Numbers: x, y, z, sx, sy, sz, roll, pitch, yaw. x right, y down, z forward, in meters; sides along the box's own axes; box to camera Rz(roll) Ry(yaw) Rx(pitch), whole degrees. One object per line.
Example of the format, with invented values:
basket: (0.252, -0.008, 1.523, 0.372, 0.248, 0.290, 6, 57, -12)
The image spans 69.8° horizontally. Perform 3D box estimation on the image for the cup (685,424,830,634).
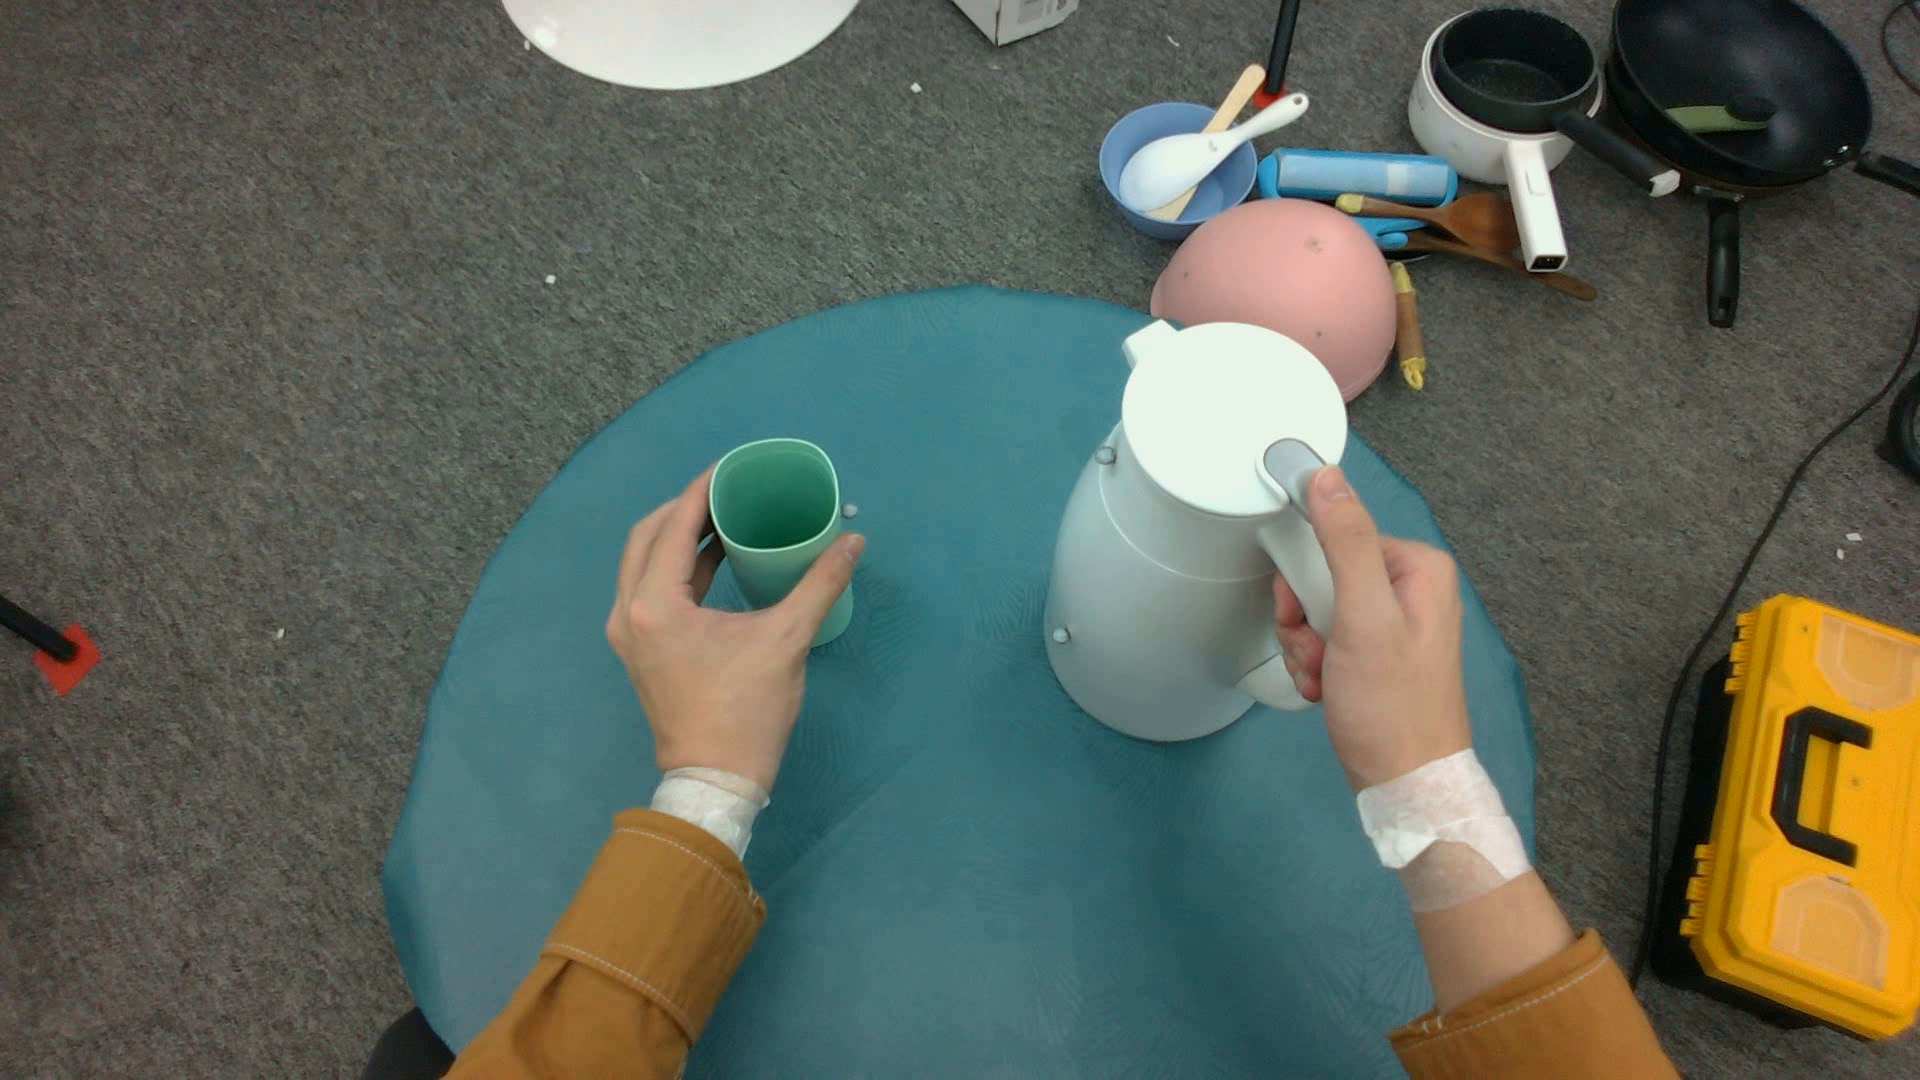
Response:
cup: (-0.103, -0.001, 0.727, 0.067, 0.132, 0.067, 1, 65, -1)

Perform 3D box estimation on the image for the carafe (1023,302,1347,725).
carafe: (0.114, 0.004, 0.662, 0.133, 0.247, 0.168, -31, 70, -15)
